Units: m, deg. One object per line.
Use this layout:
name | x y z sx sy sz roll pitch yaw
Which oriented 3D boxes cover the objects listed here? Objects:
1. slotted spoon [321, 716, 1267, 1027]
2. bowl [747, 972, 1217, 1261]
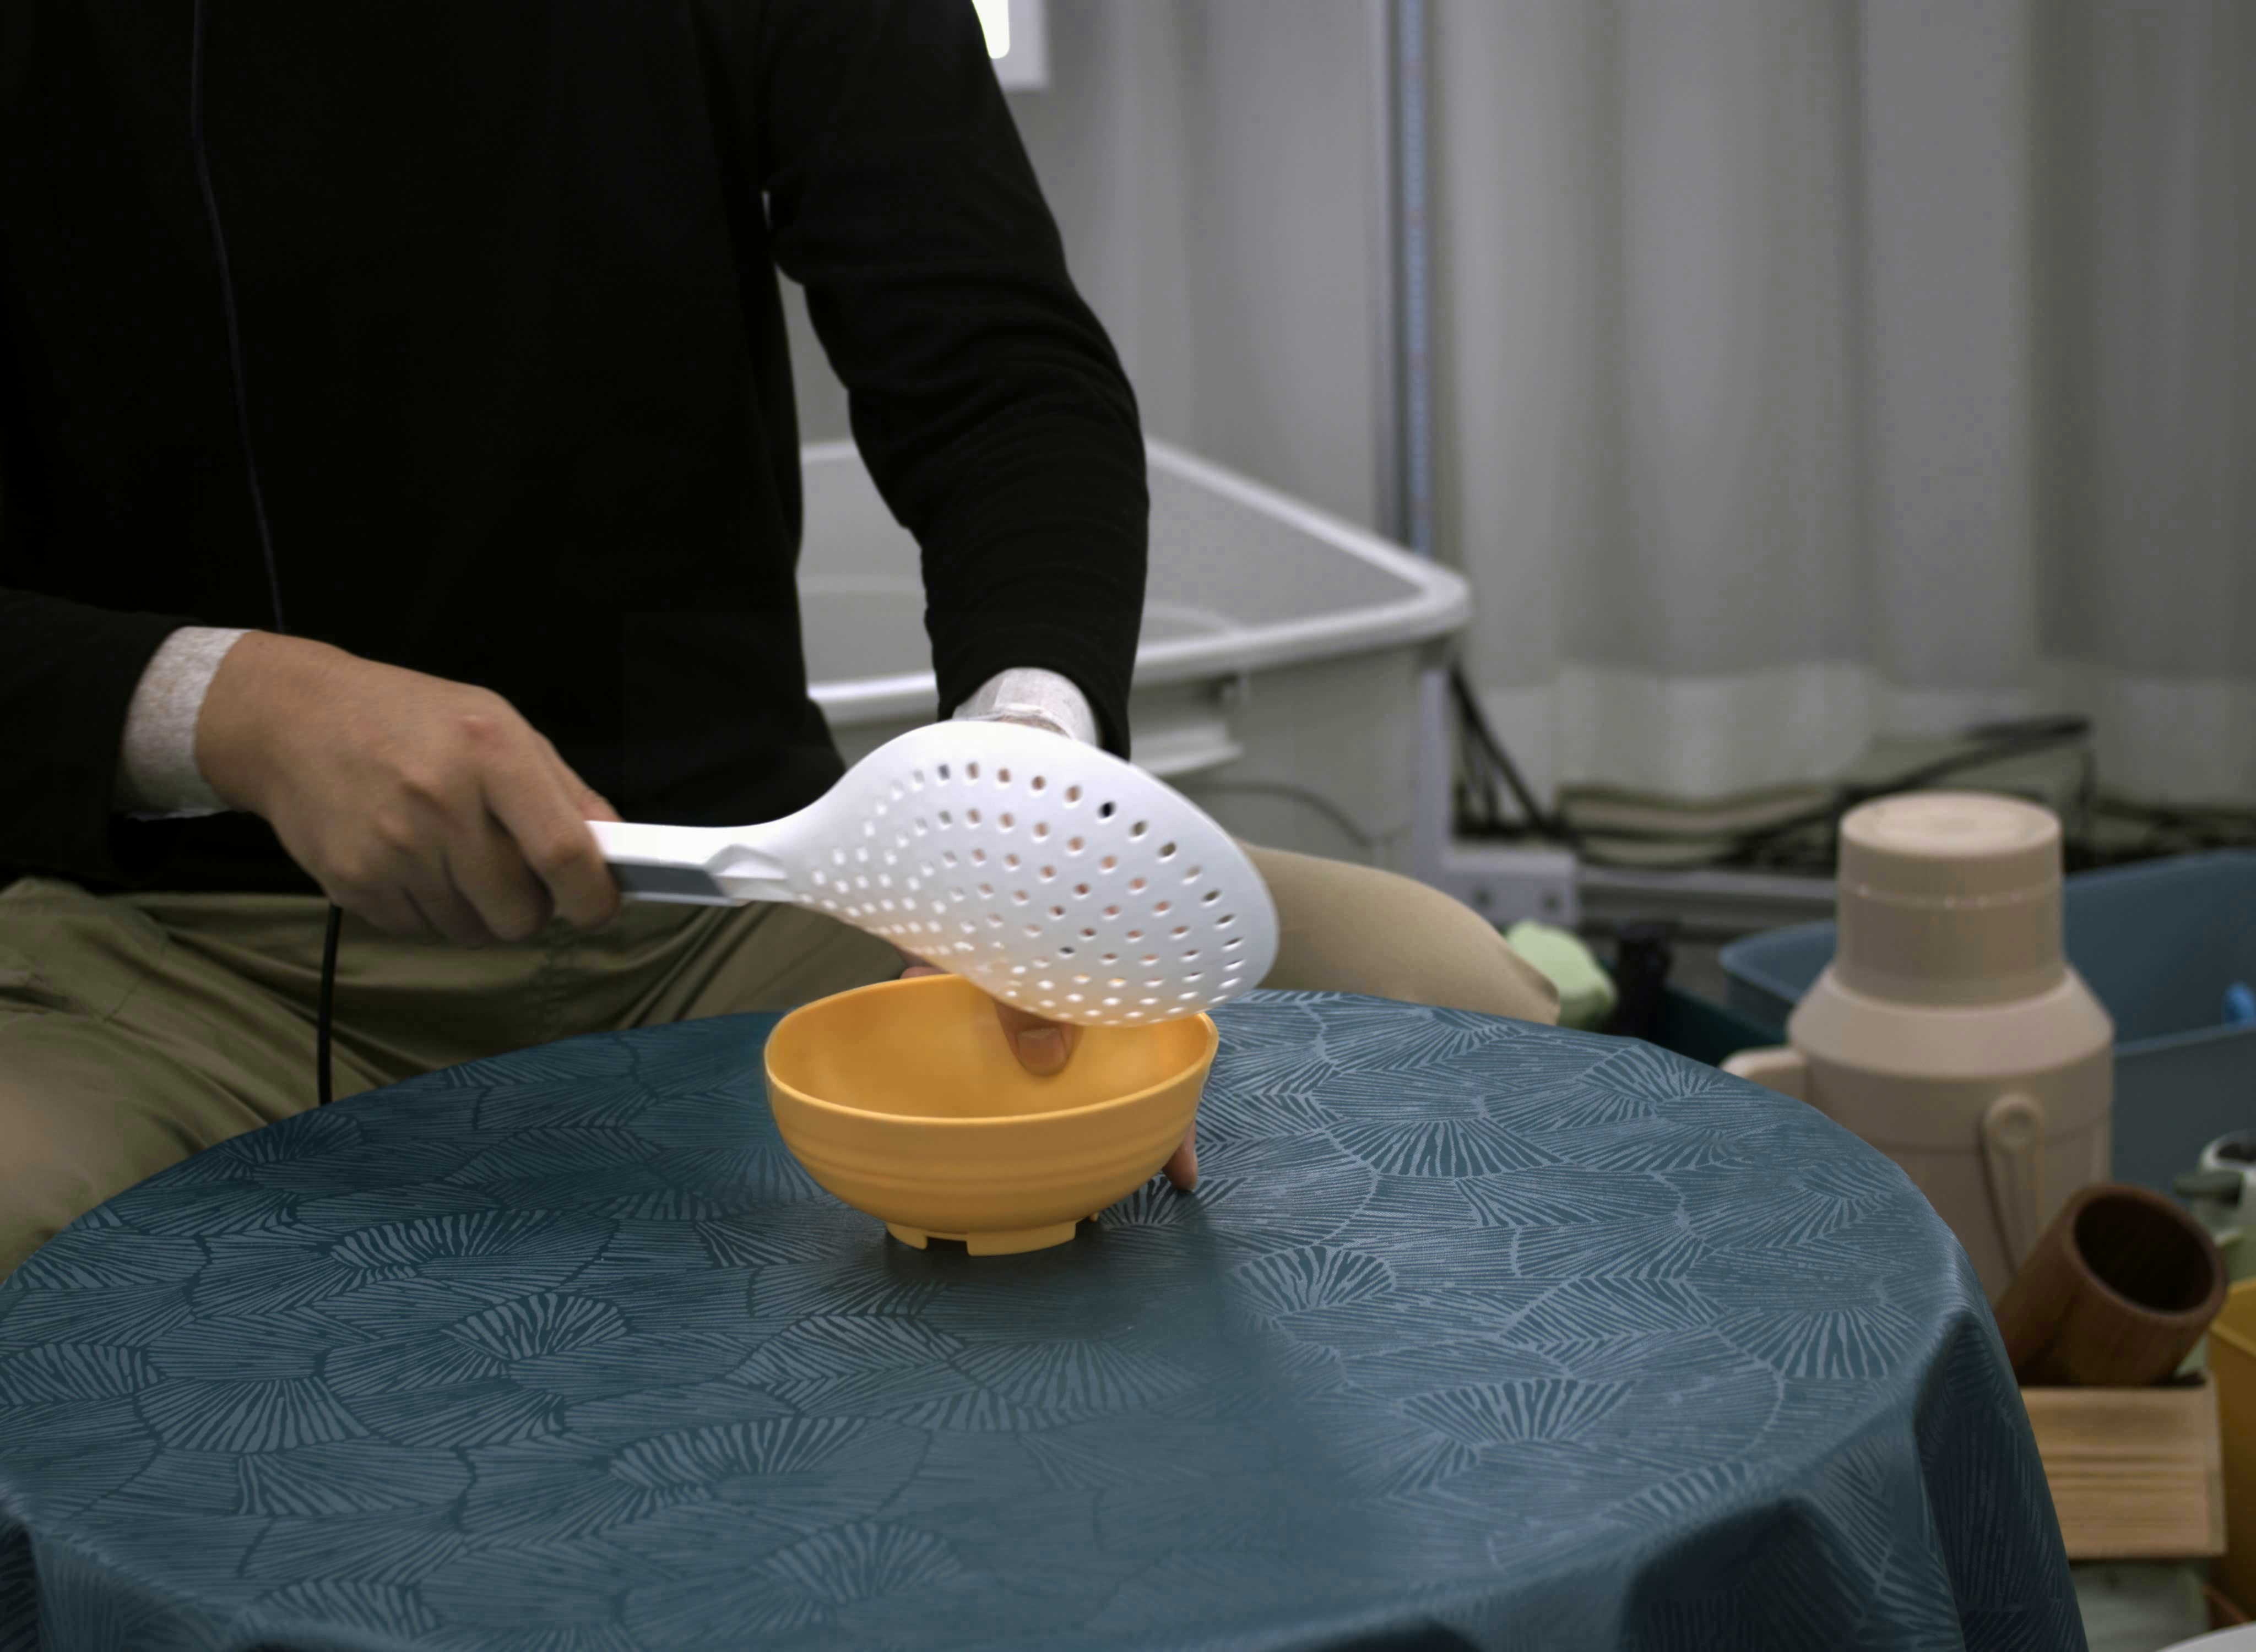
slotted spoon | -0.115 0.013 1.713 0.351 0.134 0.046 7 53 36
bowl | -0.045 0.095 1.686 0.145 0.060 0.146 0 16 0
